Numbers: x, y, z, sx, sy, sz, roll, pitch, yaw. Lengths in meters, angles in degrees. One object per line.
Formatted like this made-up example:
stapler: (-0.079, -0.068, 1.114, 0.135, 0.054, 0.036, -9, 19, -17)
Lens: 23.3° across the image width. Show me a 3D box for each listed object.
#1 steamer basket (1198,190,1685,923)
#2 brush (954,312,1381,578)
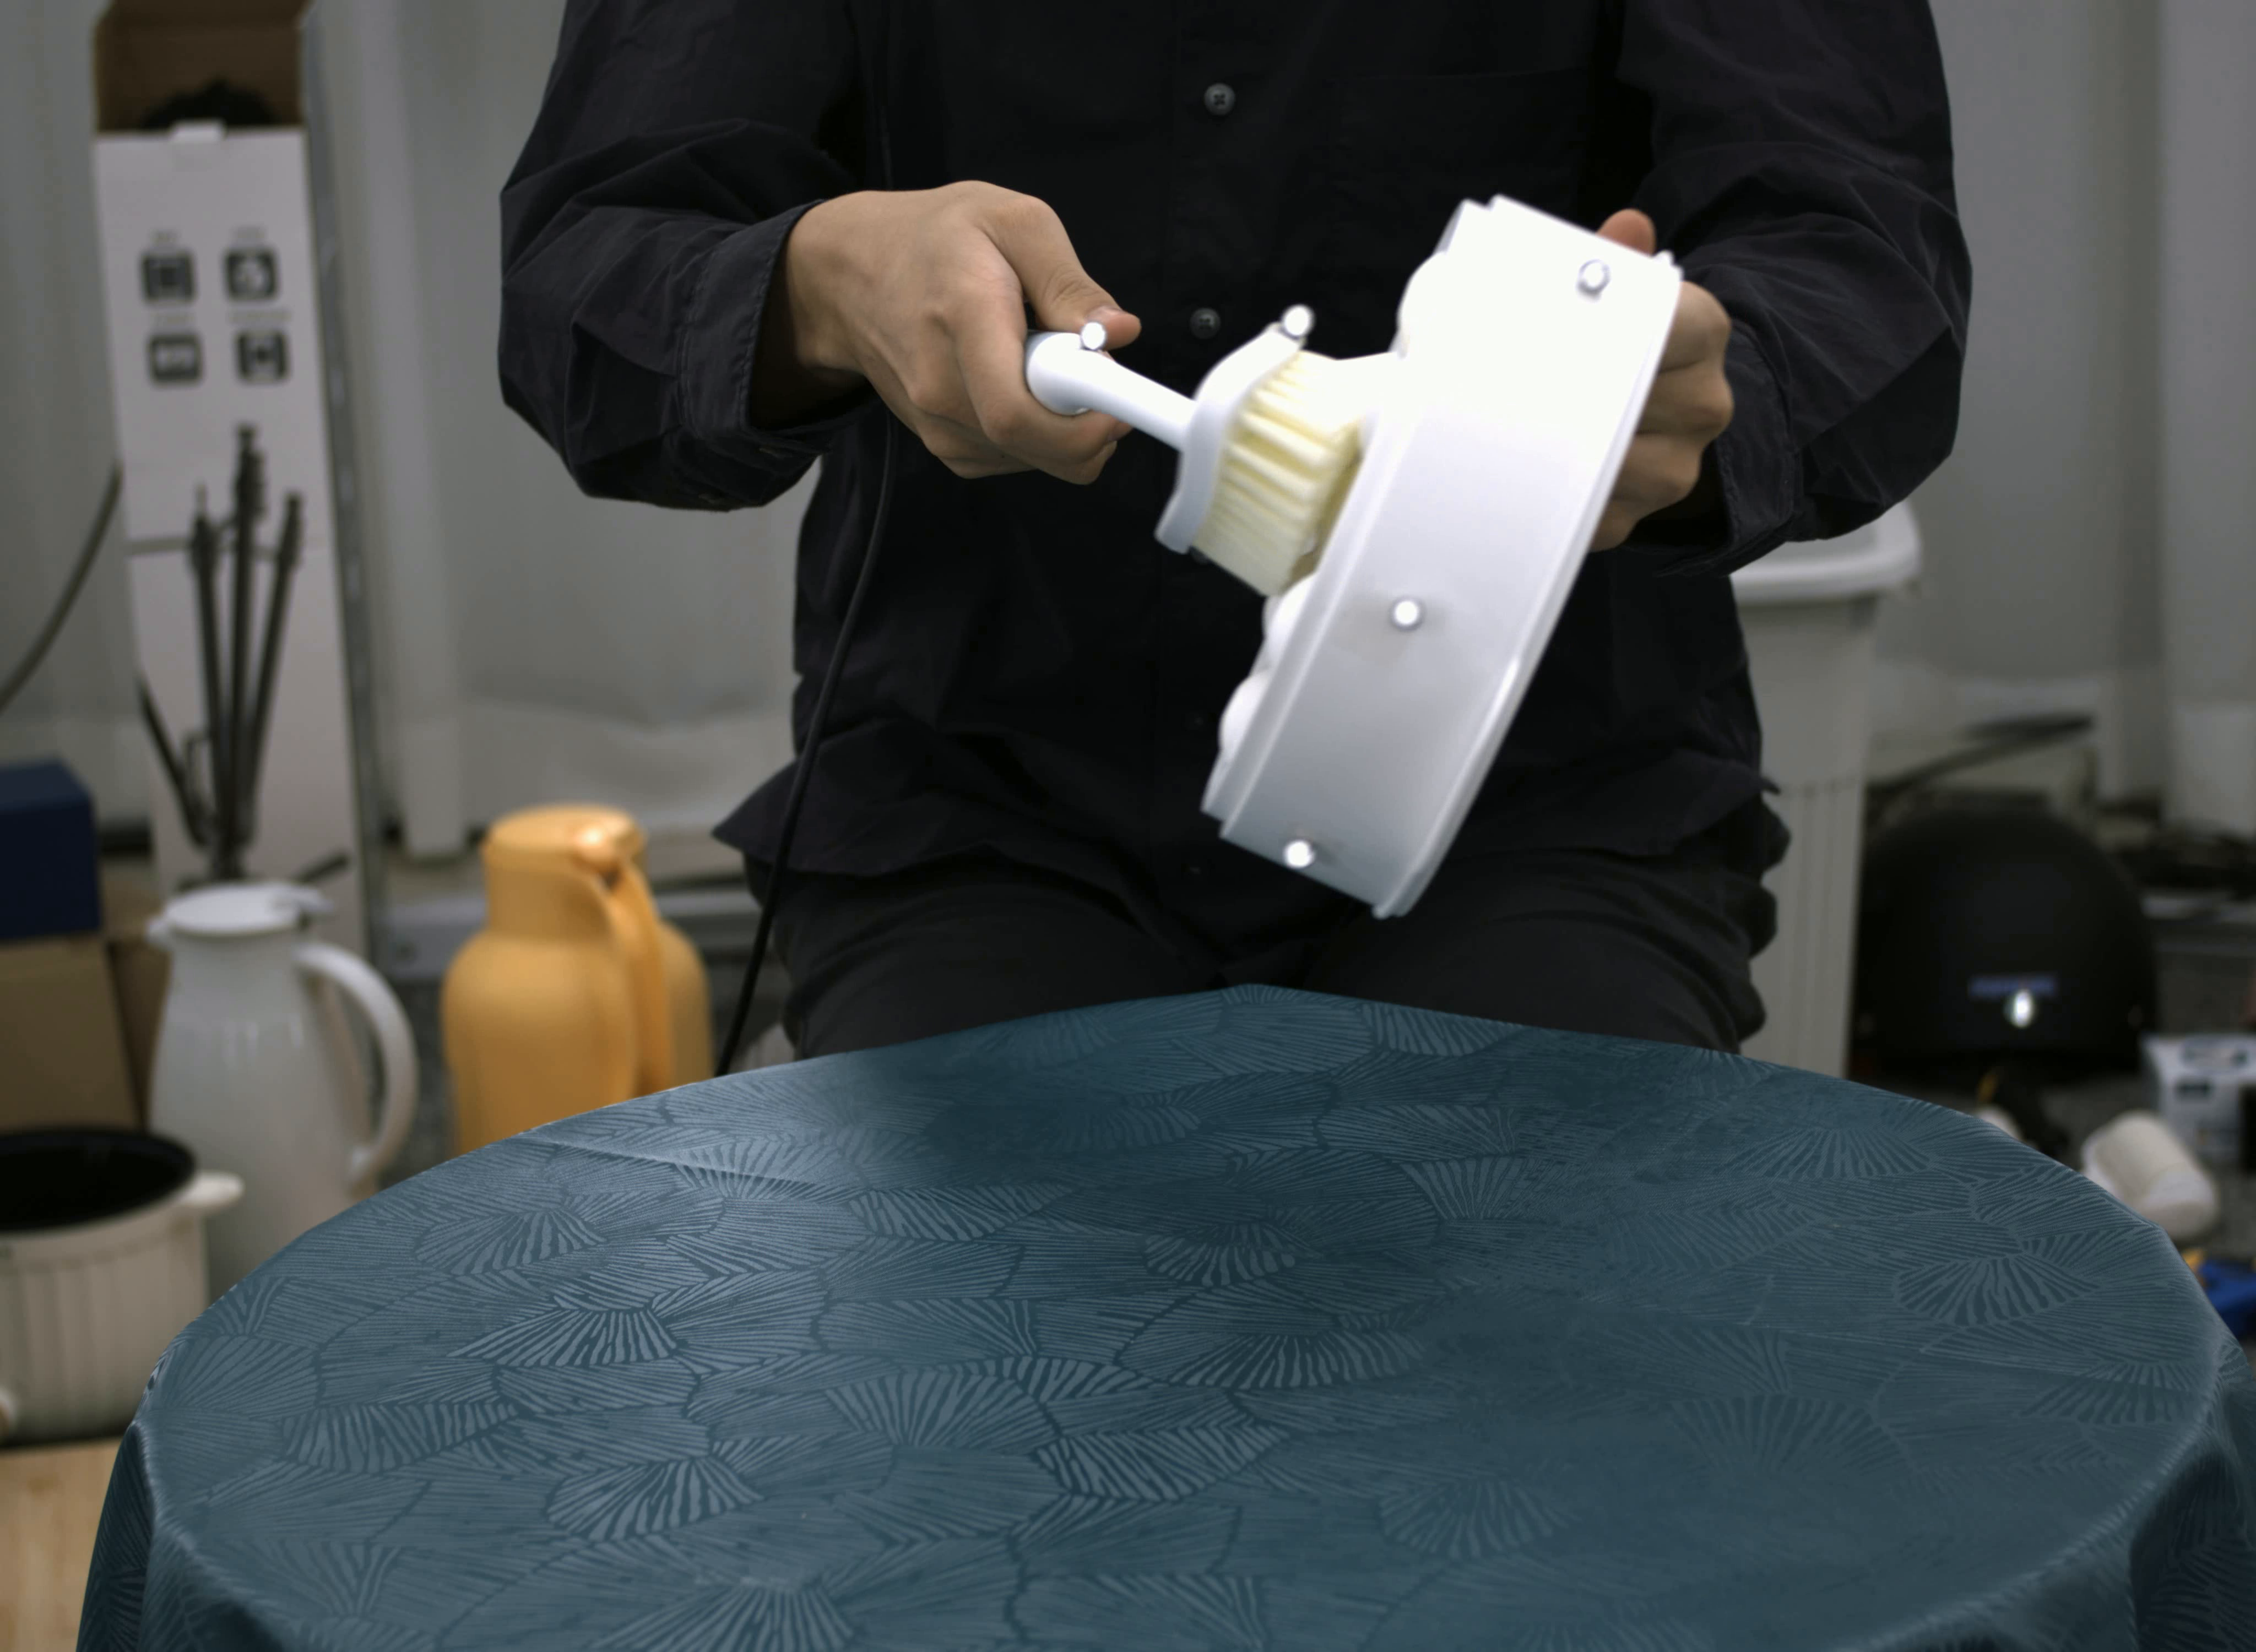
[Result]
steamer basket: (0.083, -0.077, 1.516, 0.069, 0.200, 0.233, 23, 34, -2)
brush: (0.023, -0.121, 1.625, 0.083, 0.084, 0.327, -27, 11, -8)
